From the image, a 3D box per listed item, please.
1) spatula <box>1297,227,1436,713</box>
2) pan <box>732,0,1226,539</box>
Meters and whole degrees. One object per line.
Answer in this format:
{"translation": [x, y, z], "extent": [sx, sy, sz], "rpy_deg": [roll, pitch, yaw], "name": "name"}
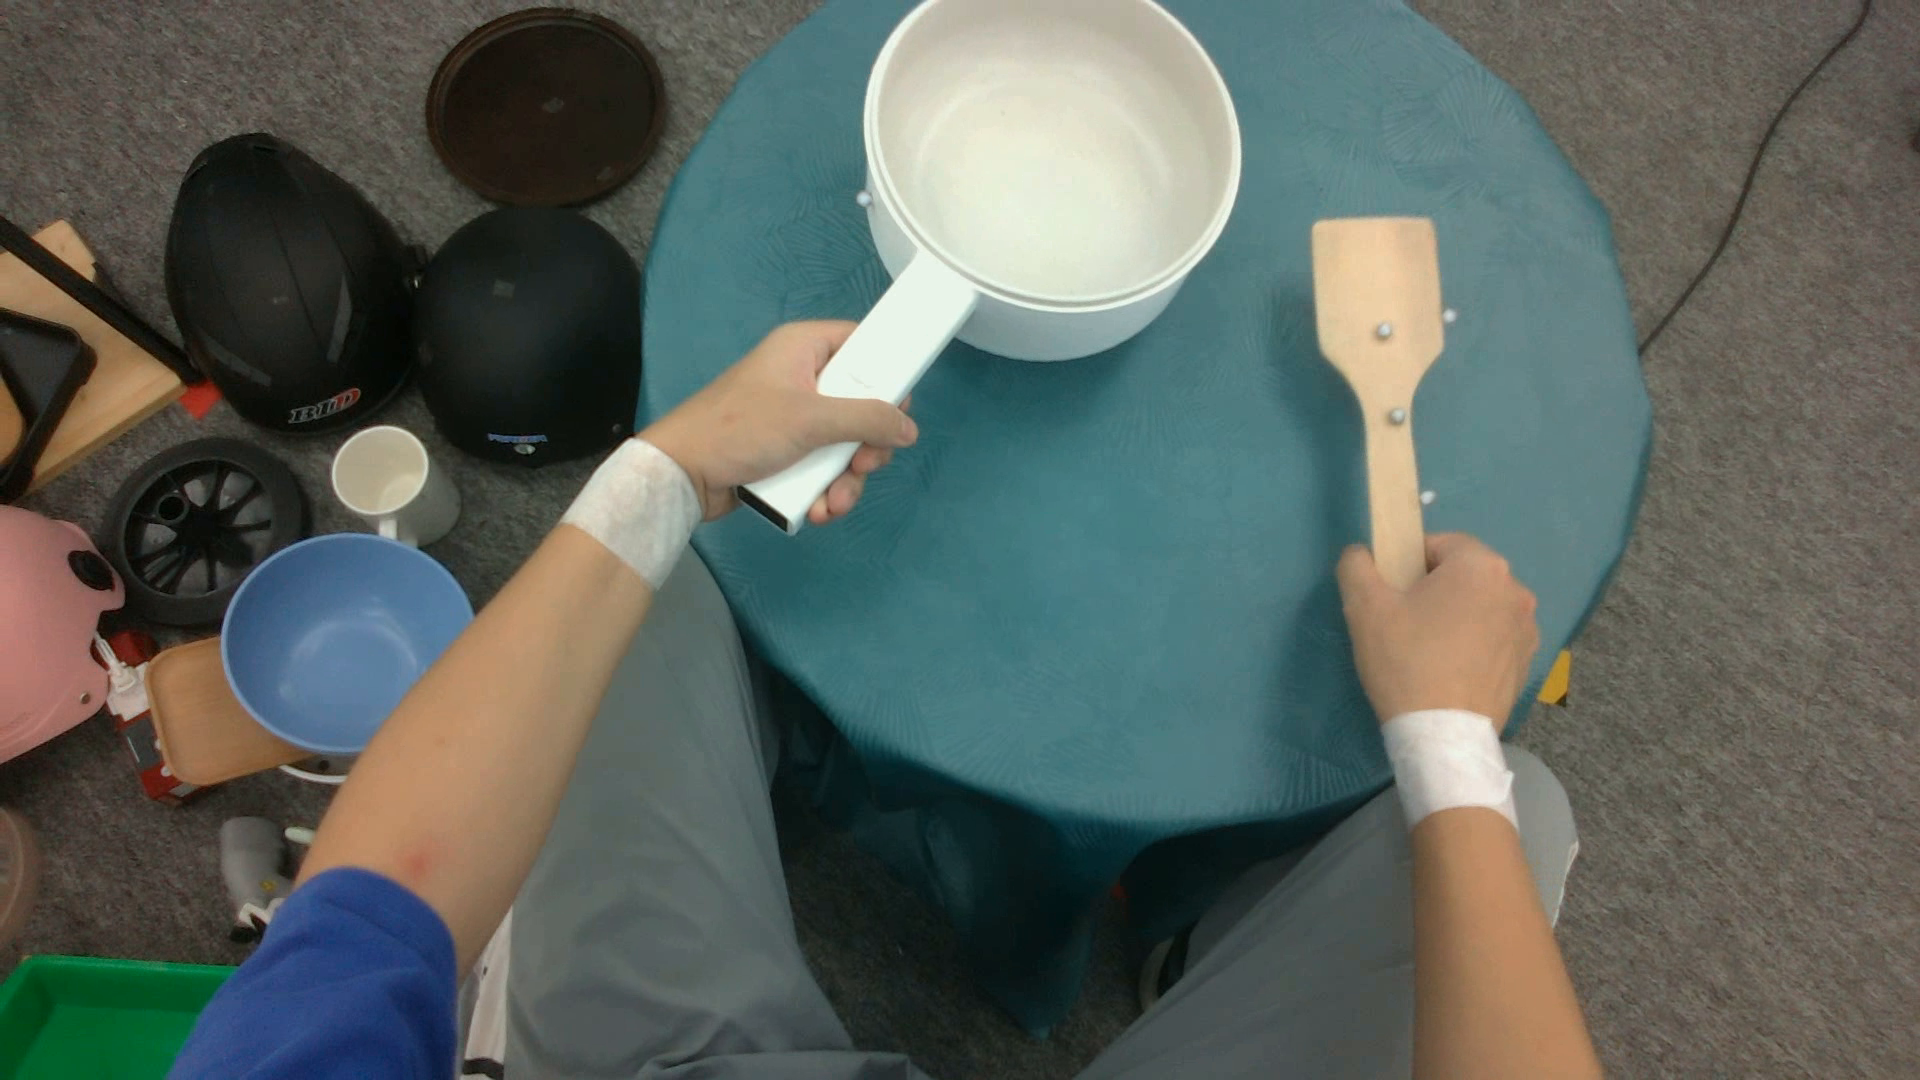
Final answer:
{"translation": [0.236, -0.047, 0.767], "extent": [0.072, 0.010, 0.294], "rpy_deg": [-1, 69, 3], "name": "spatula"}
{"translation": [-0.001, -0.140, 0.763], "extent": [0.201, 0.102, 0.356], "rpy_deg": [35, 72, 2], "name": "pan"}
